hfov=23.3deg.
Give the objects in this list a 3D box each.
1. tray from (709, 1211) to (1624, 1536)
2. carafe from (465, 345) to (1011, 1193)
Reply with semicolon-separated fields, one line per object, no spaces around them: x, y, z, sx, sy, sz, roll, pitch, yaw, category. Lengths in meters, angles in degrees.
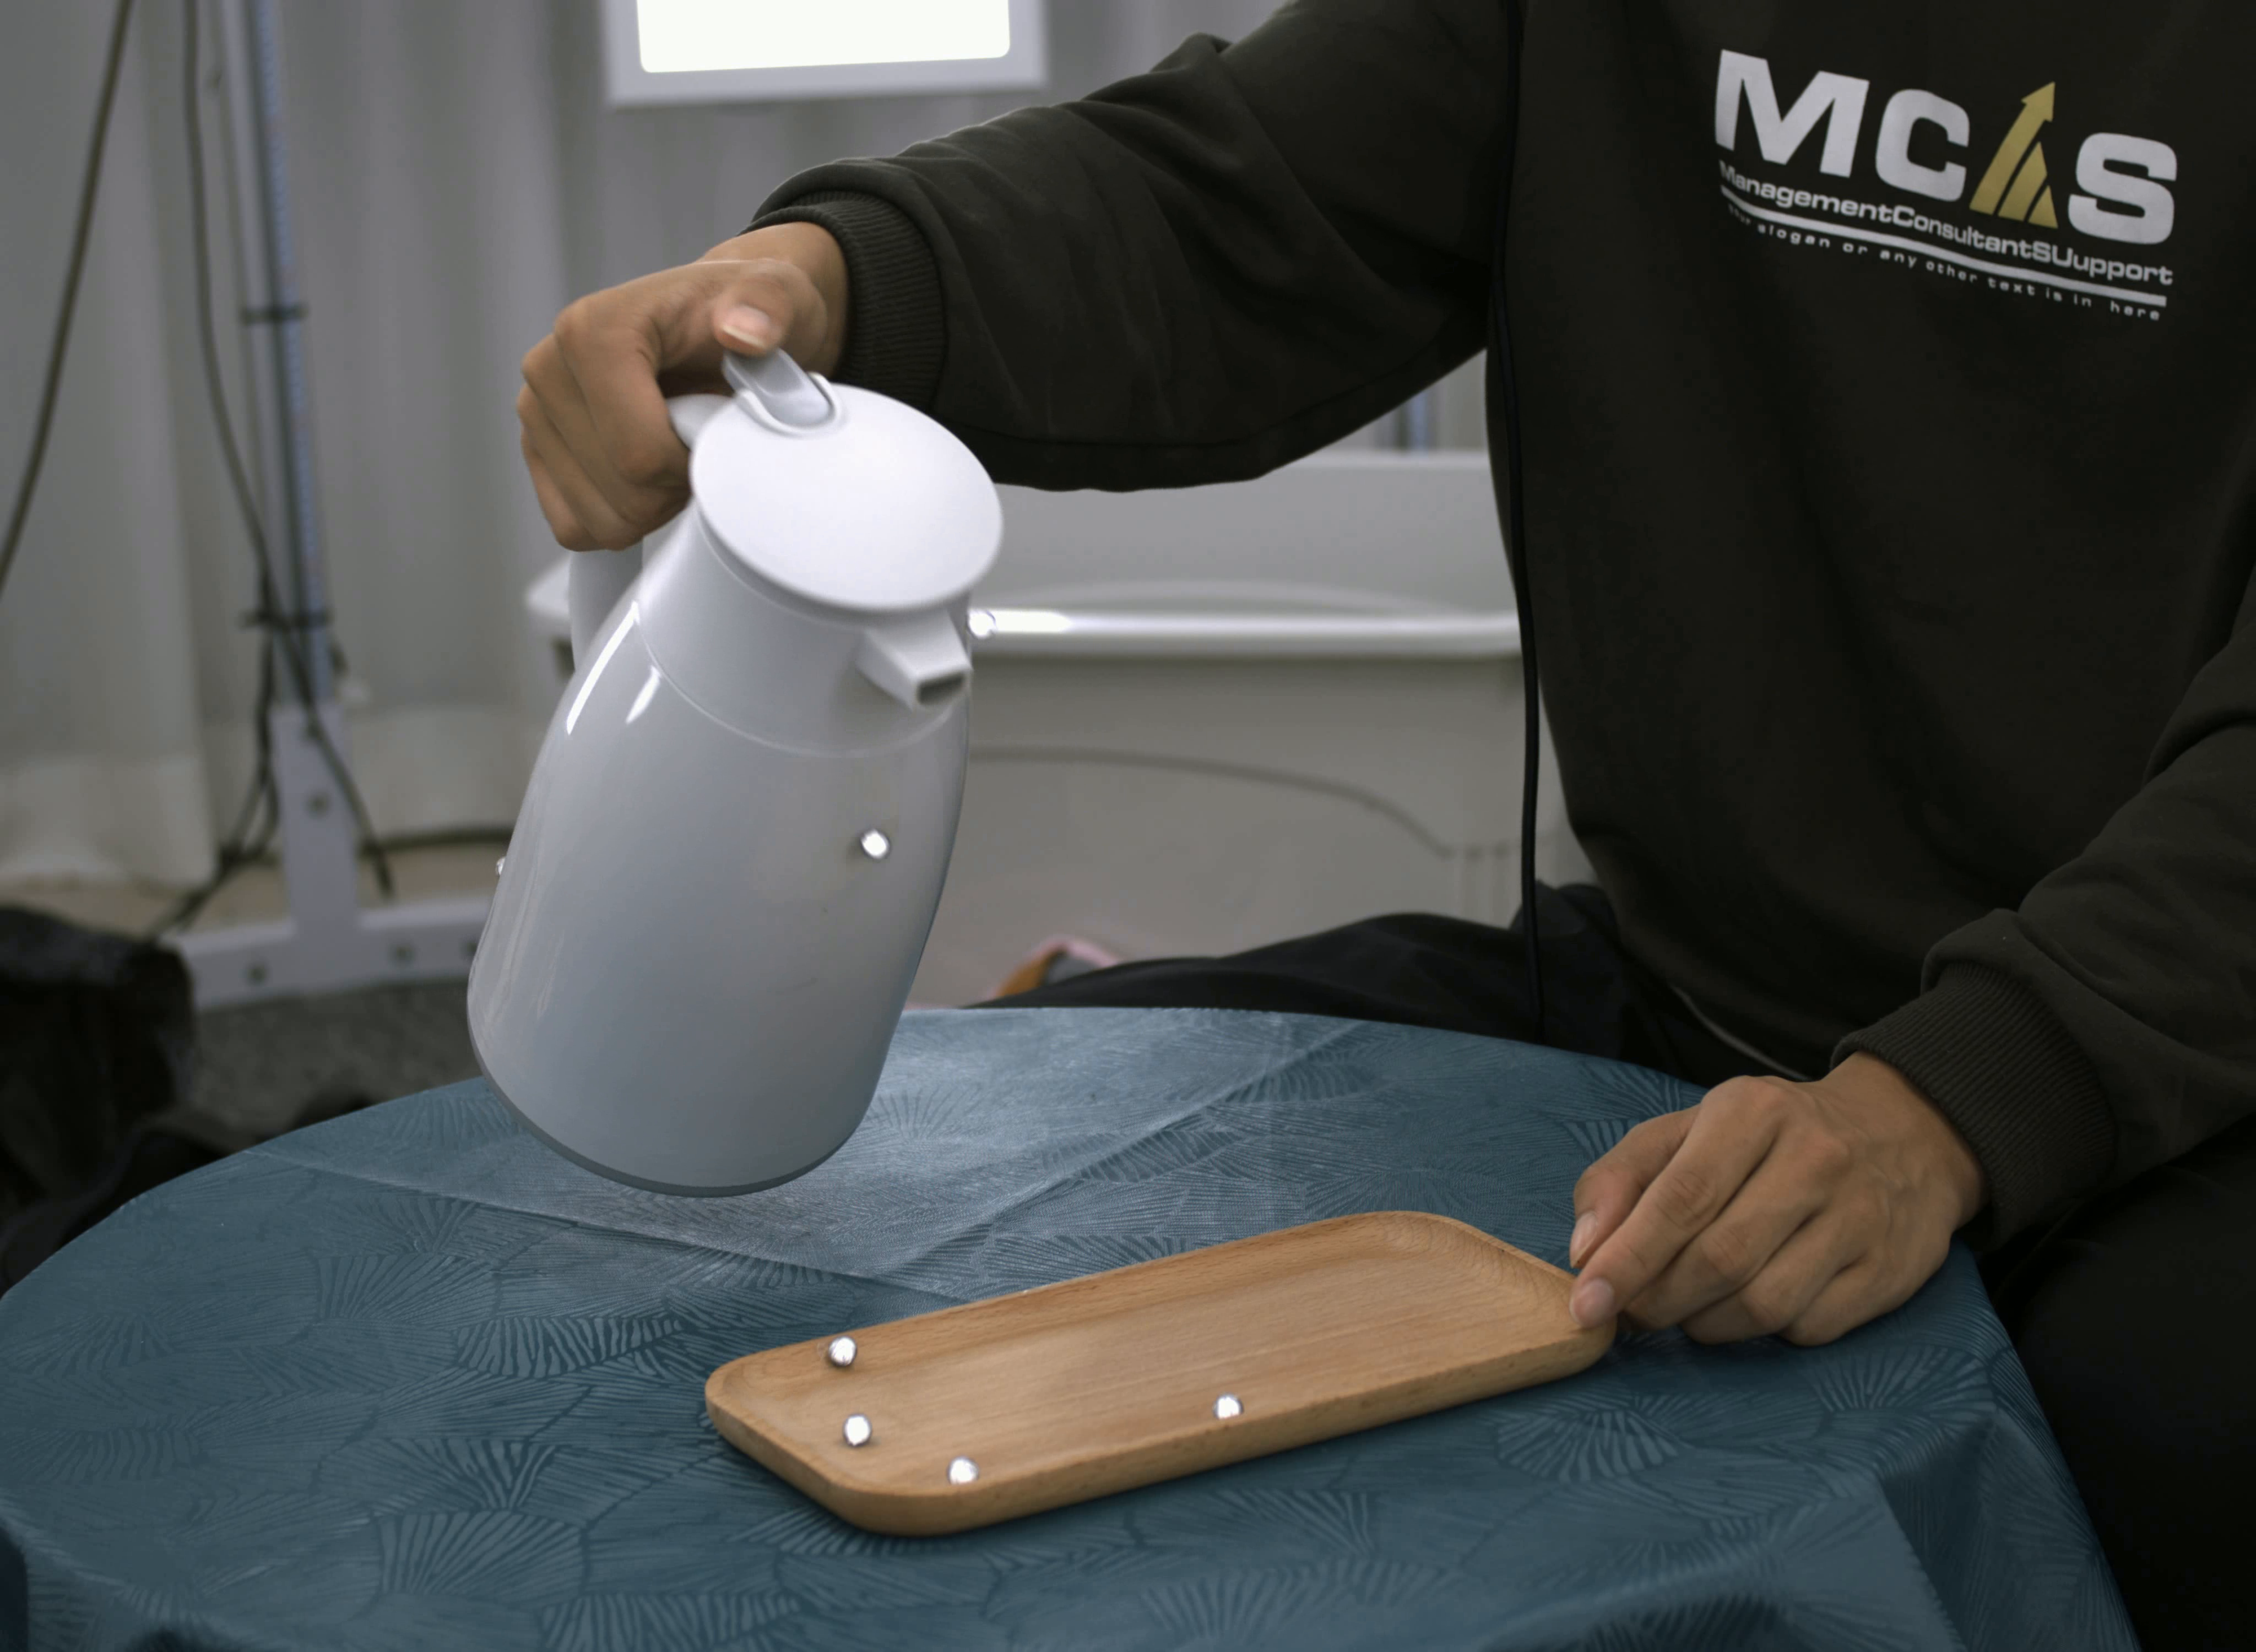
0.012;0.153;1.543;0.249;0.023;0.131;-10;19;-27;tray
-0.121;-0.030;1.645;0.132;0.246;0.170;-17;56;-33;carafe
